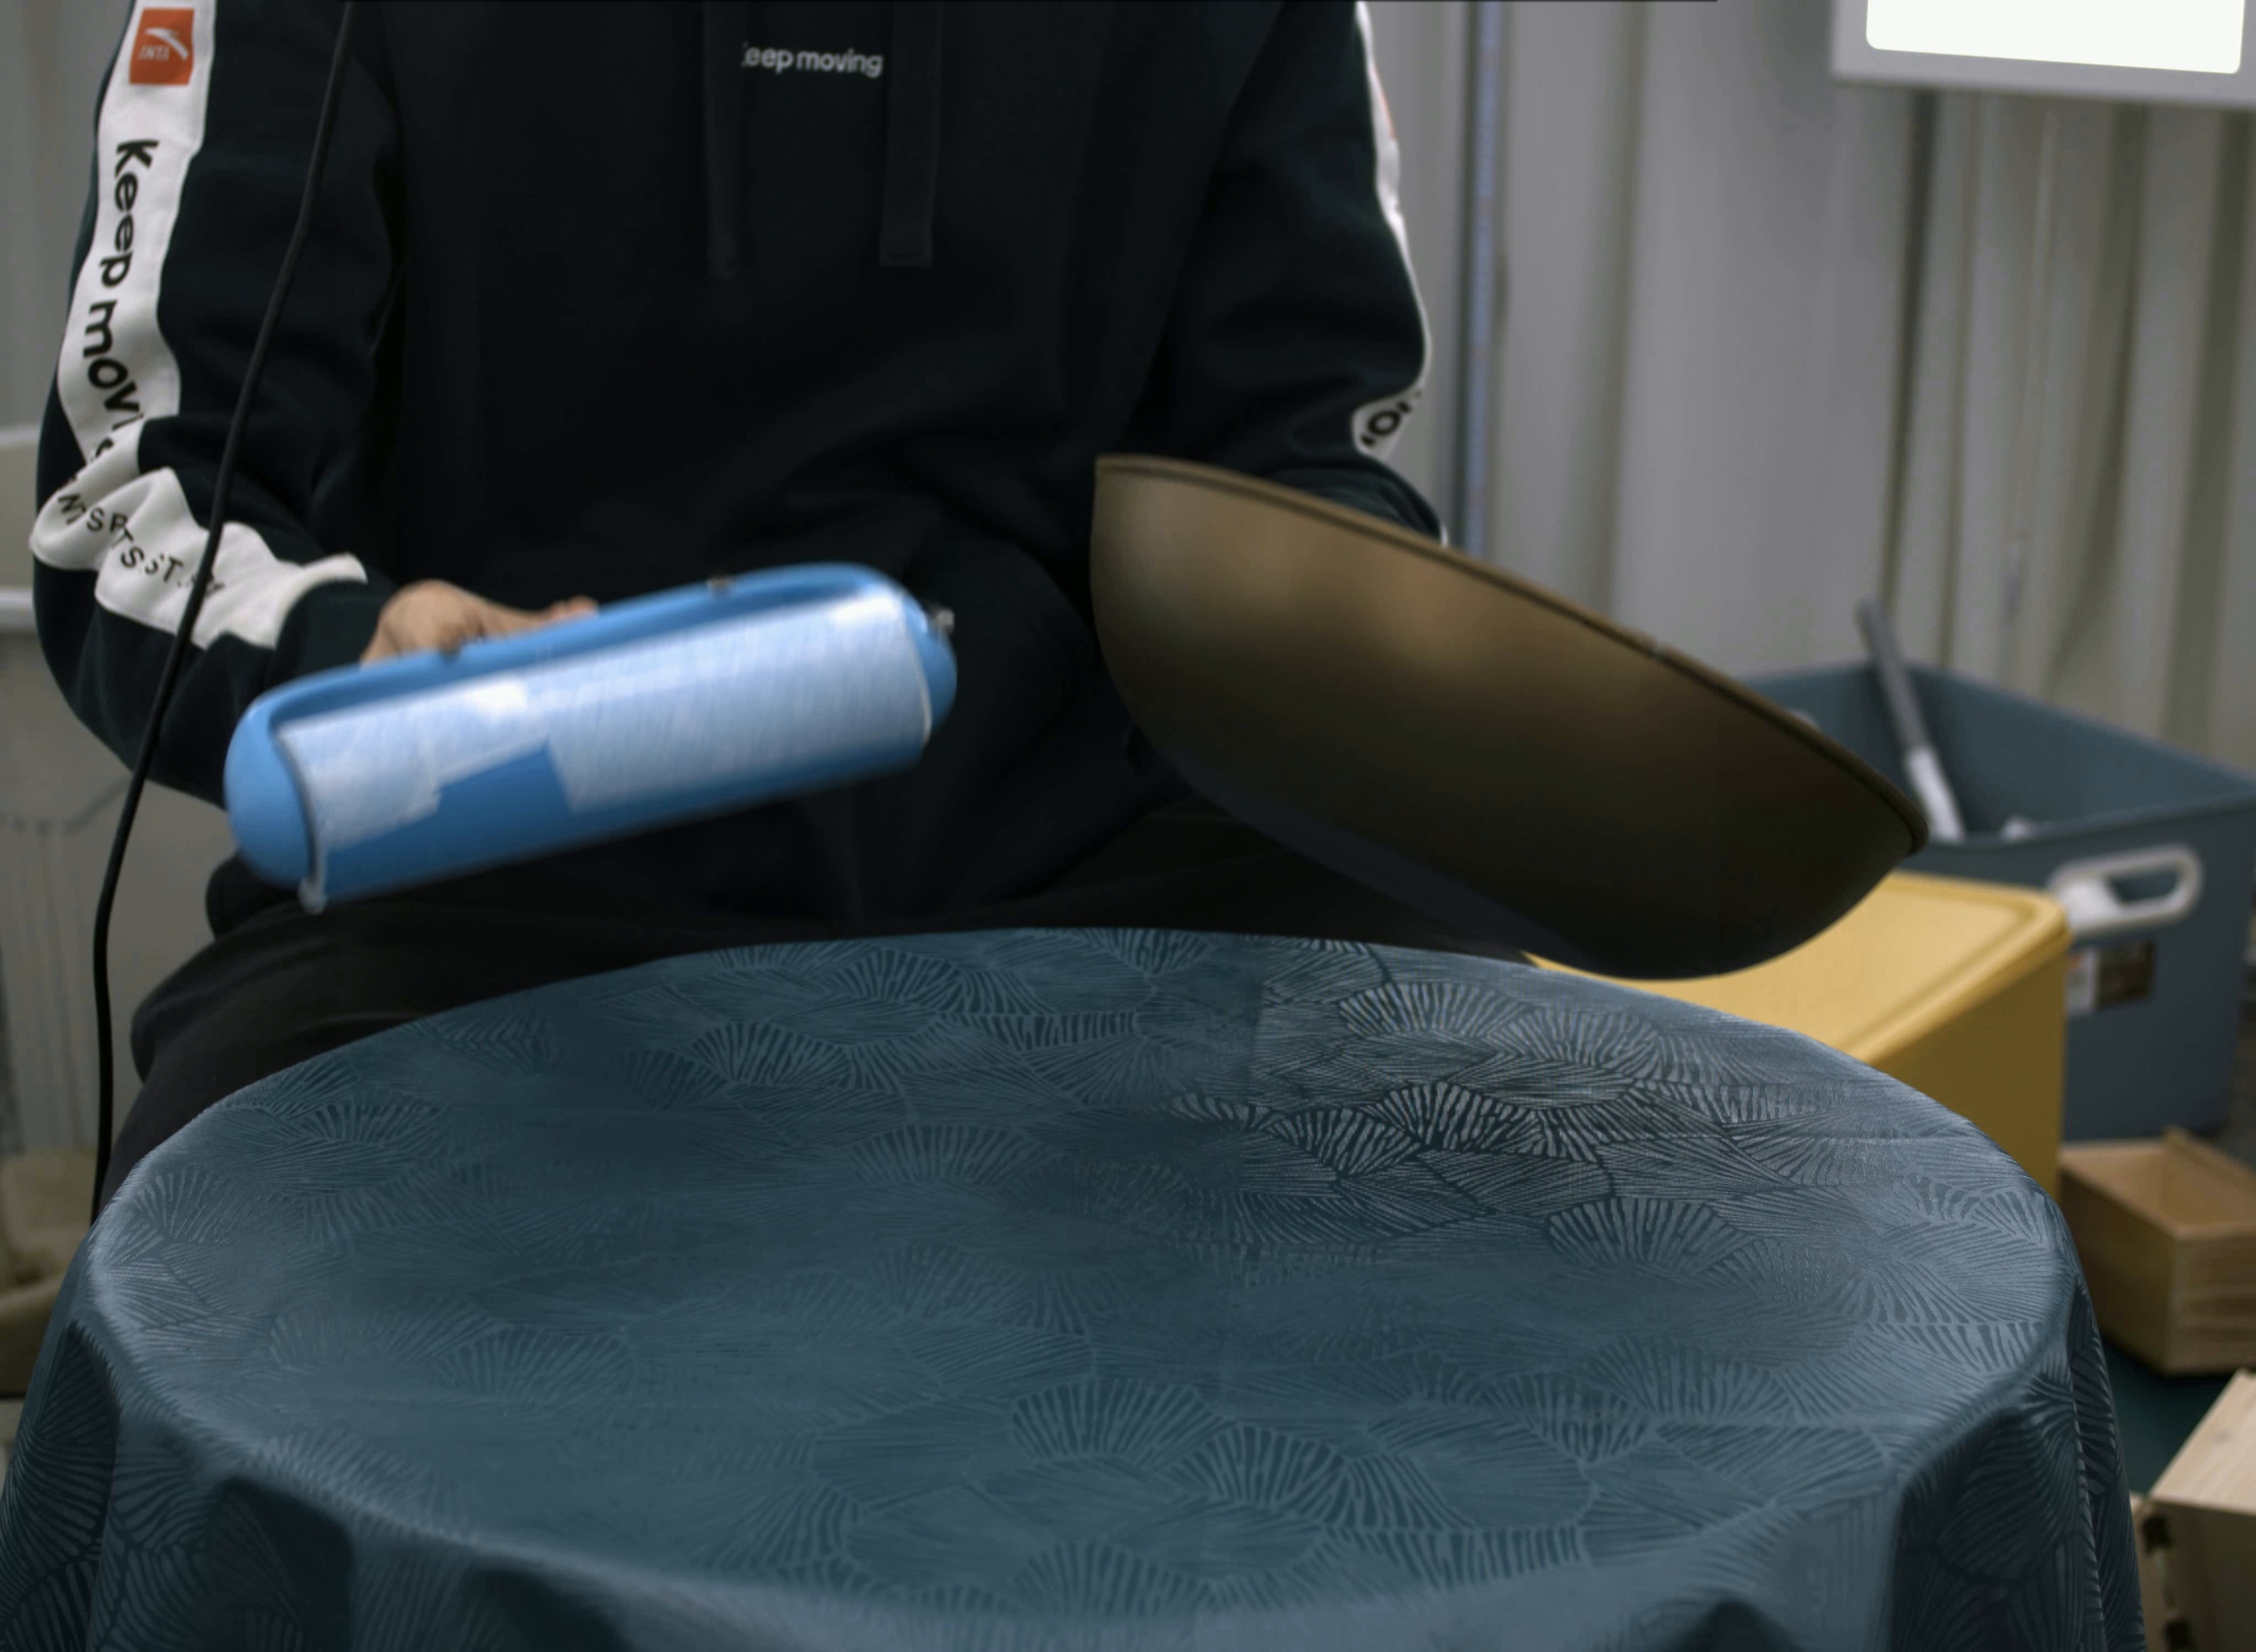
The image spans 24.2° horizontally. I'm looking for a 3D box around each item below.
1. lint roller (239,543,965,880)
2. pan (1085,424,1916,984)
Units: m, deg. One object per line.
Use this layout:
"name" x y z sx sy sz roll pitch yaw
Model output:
"lint roller" -0.181 -0.036 1.624 0.229 0.068 0.178 -17 9 -26
"pan" 0.084 -0.020 1.721 0.289 0.087 0.462 27 -6 -9
